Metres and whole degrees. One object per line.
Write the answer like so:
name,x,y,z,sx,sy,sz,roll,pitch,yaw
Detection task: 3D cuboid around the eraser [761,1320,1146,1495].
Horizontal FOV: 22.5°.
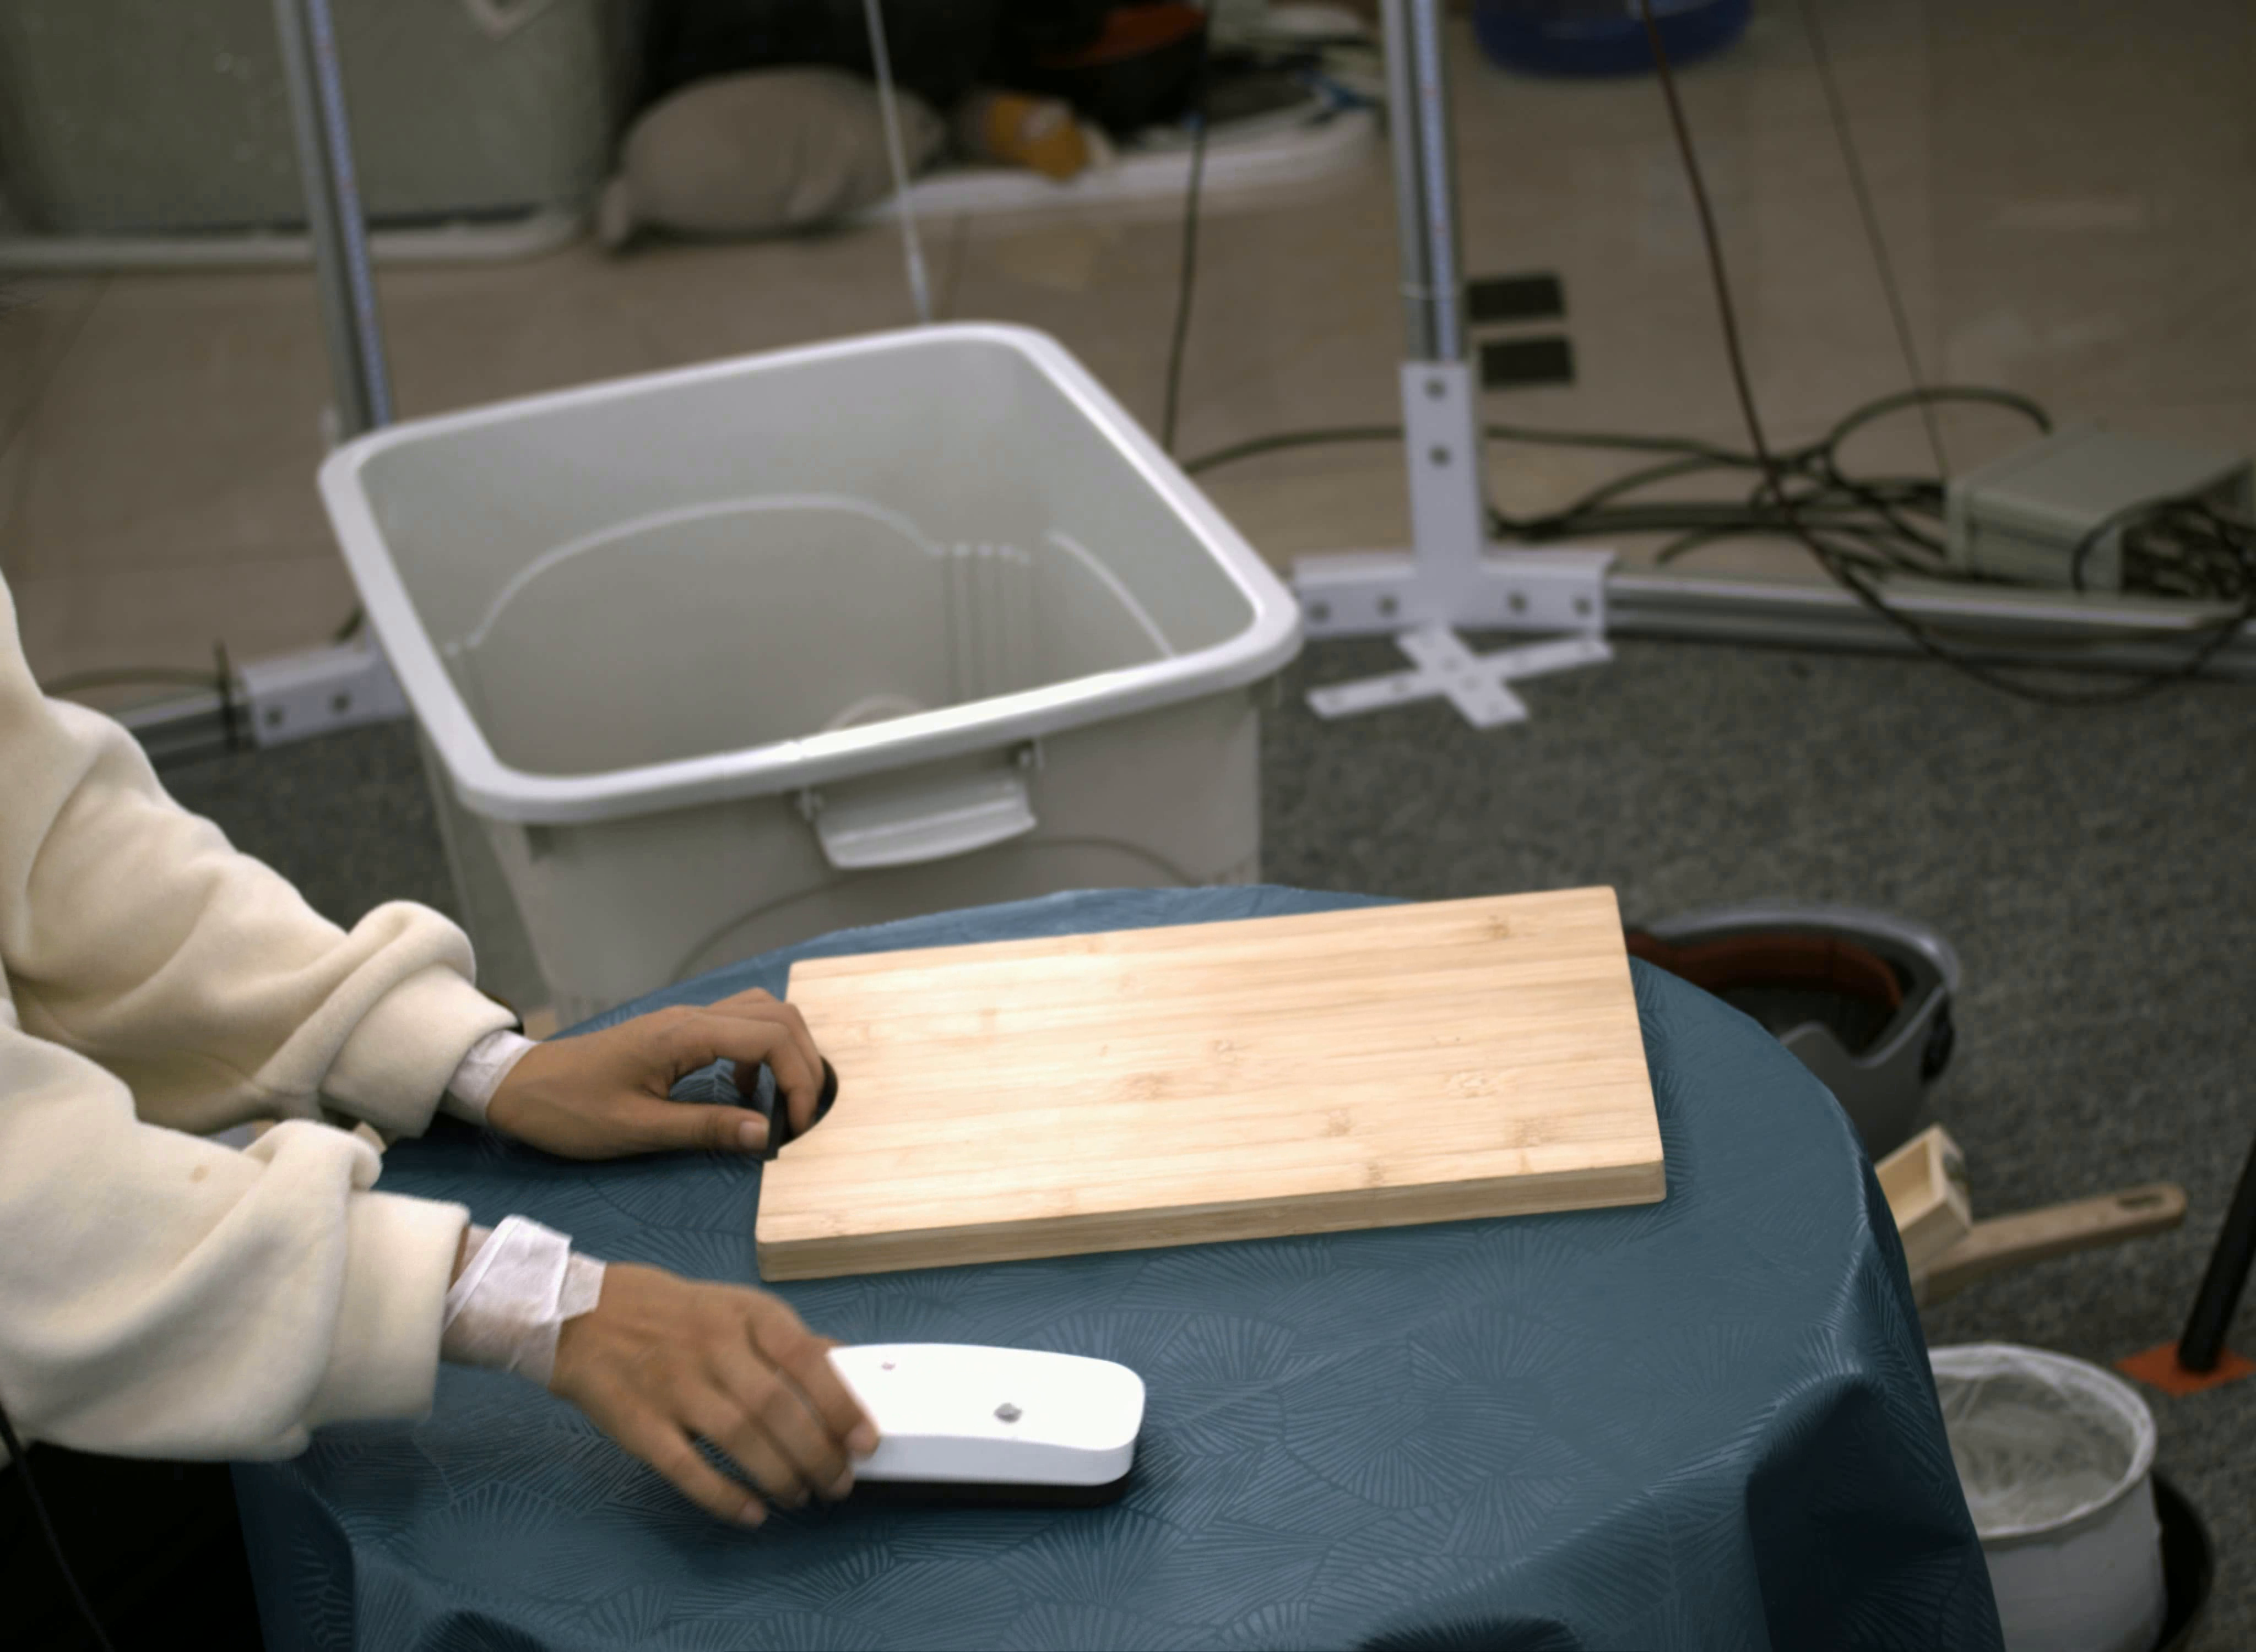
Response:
eraser,-0.060,0.202,1.973,0.131,0.035,0.062,3,24,7

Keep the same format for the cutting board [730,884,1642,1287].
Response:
cutting board,0.024,0.099,2.210,0.348,0.024,0.247,-6,25,2
